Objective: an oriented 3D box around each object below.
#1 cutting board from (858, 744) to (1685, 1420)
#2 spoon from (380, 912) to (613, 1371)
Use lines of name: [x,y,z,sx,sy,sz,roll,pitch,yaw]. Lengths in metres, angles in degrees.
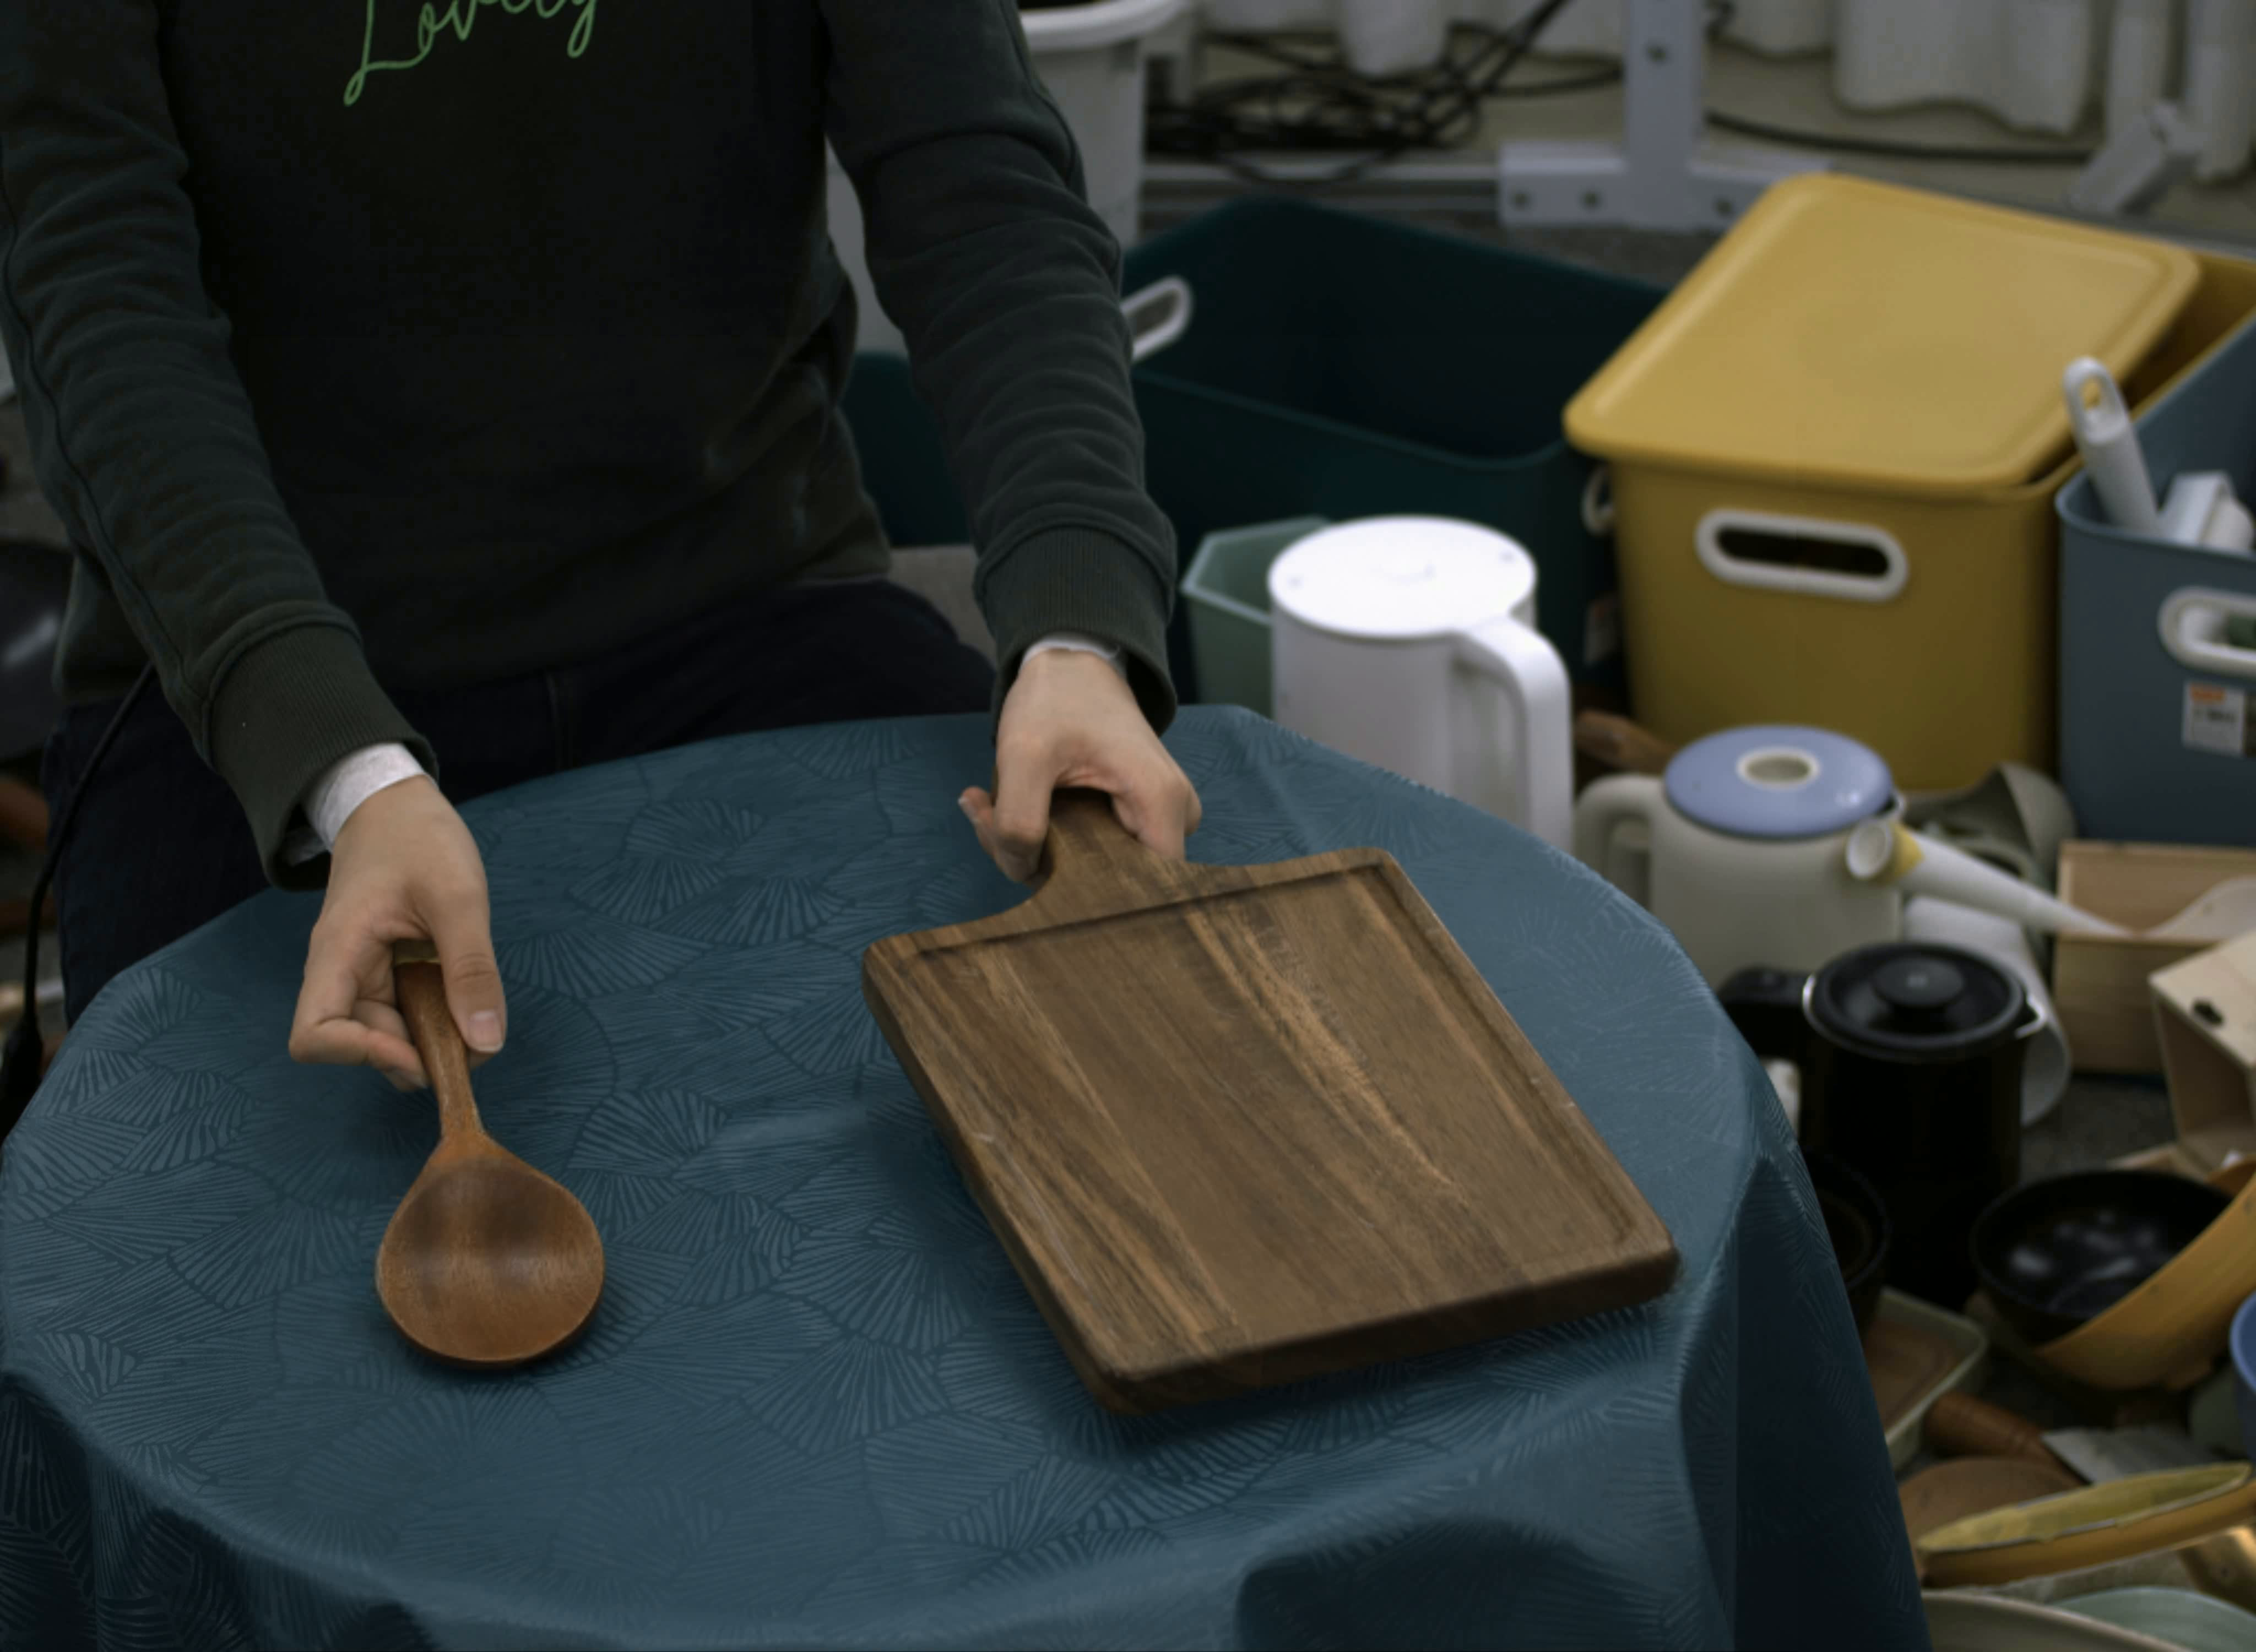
cutting board: [0.025,0.068,1.877,0.201,0.023,0.356,-11,34,-17]
spoon: [-0.218,0.104,1.855,0.075,0.017,0.219,-11,42,-9]
